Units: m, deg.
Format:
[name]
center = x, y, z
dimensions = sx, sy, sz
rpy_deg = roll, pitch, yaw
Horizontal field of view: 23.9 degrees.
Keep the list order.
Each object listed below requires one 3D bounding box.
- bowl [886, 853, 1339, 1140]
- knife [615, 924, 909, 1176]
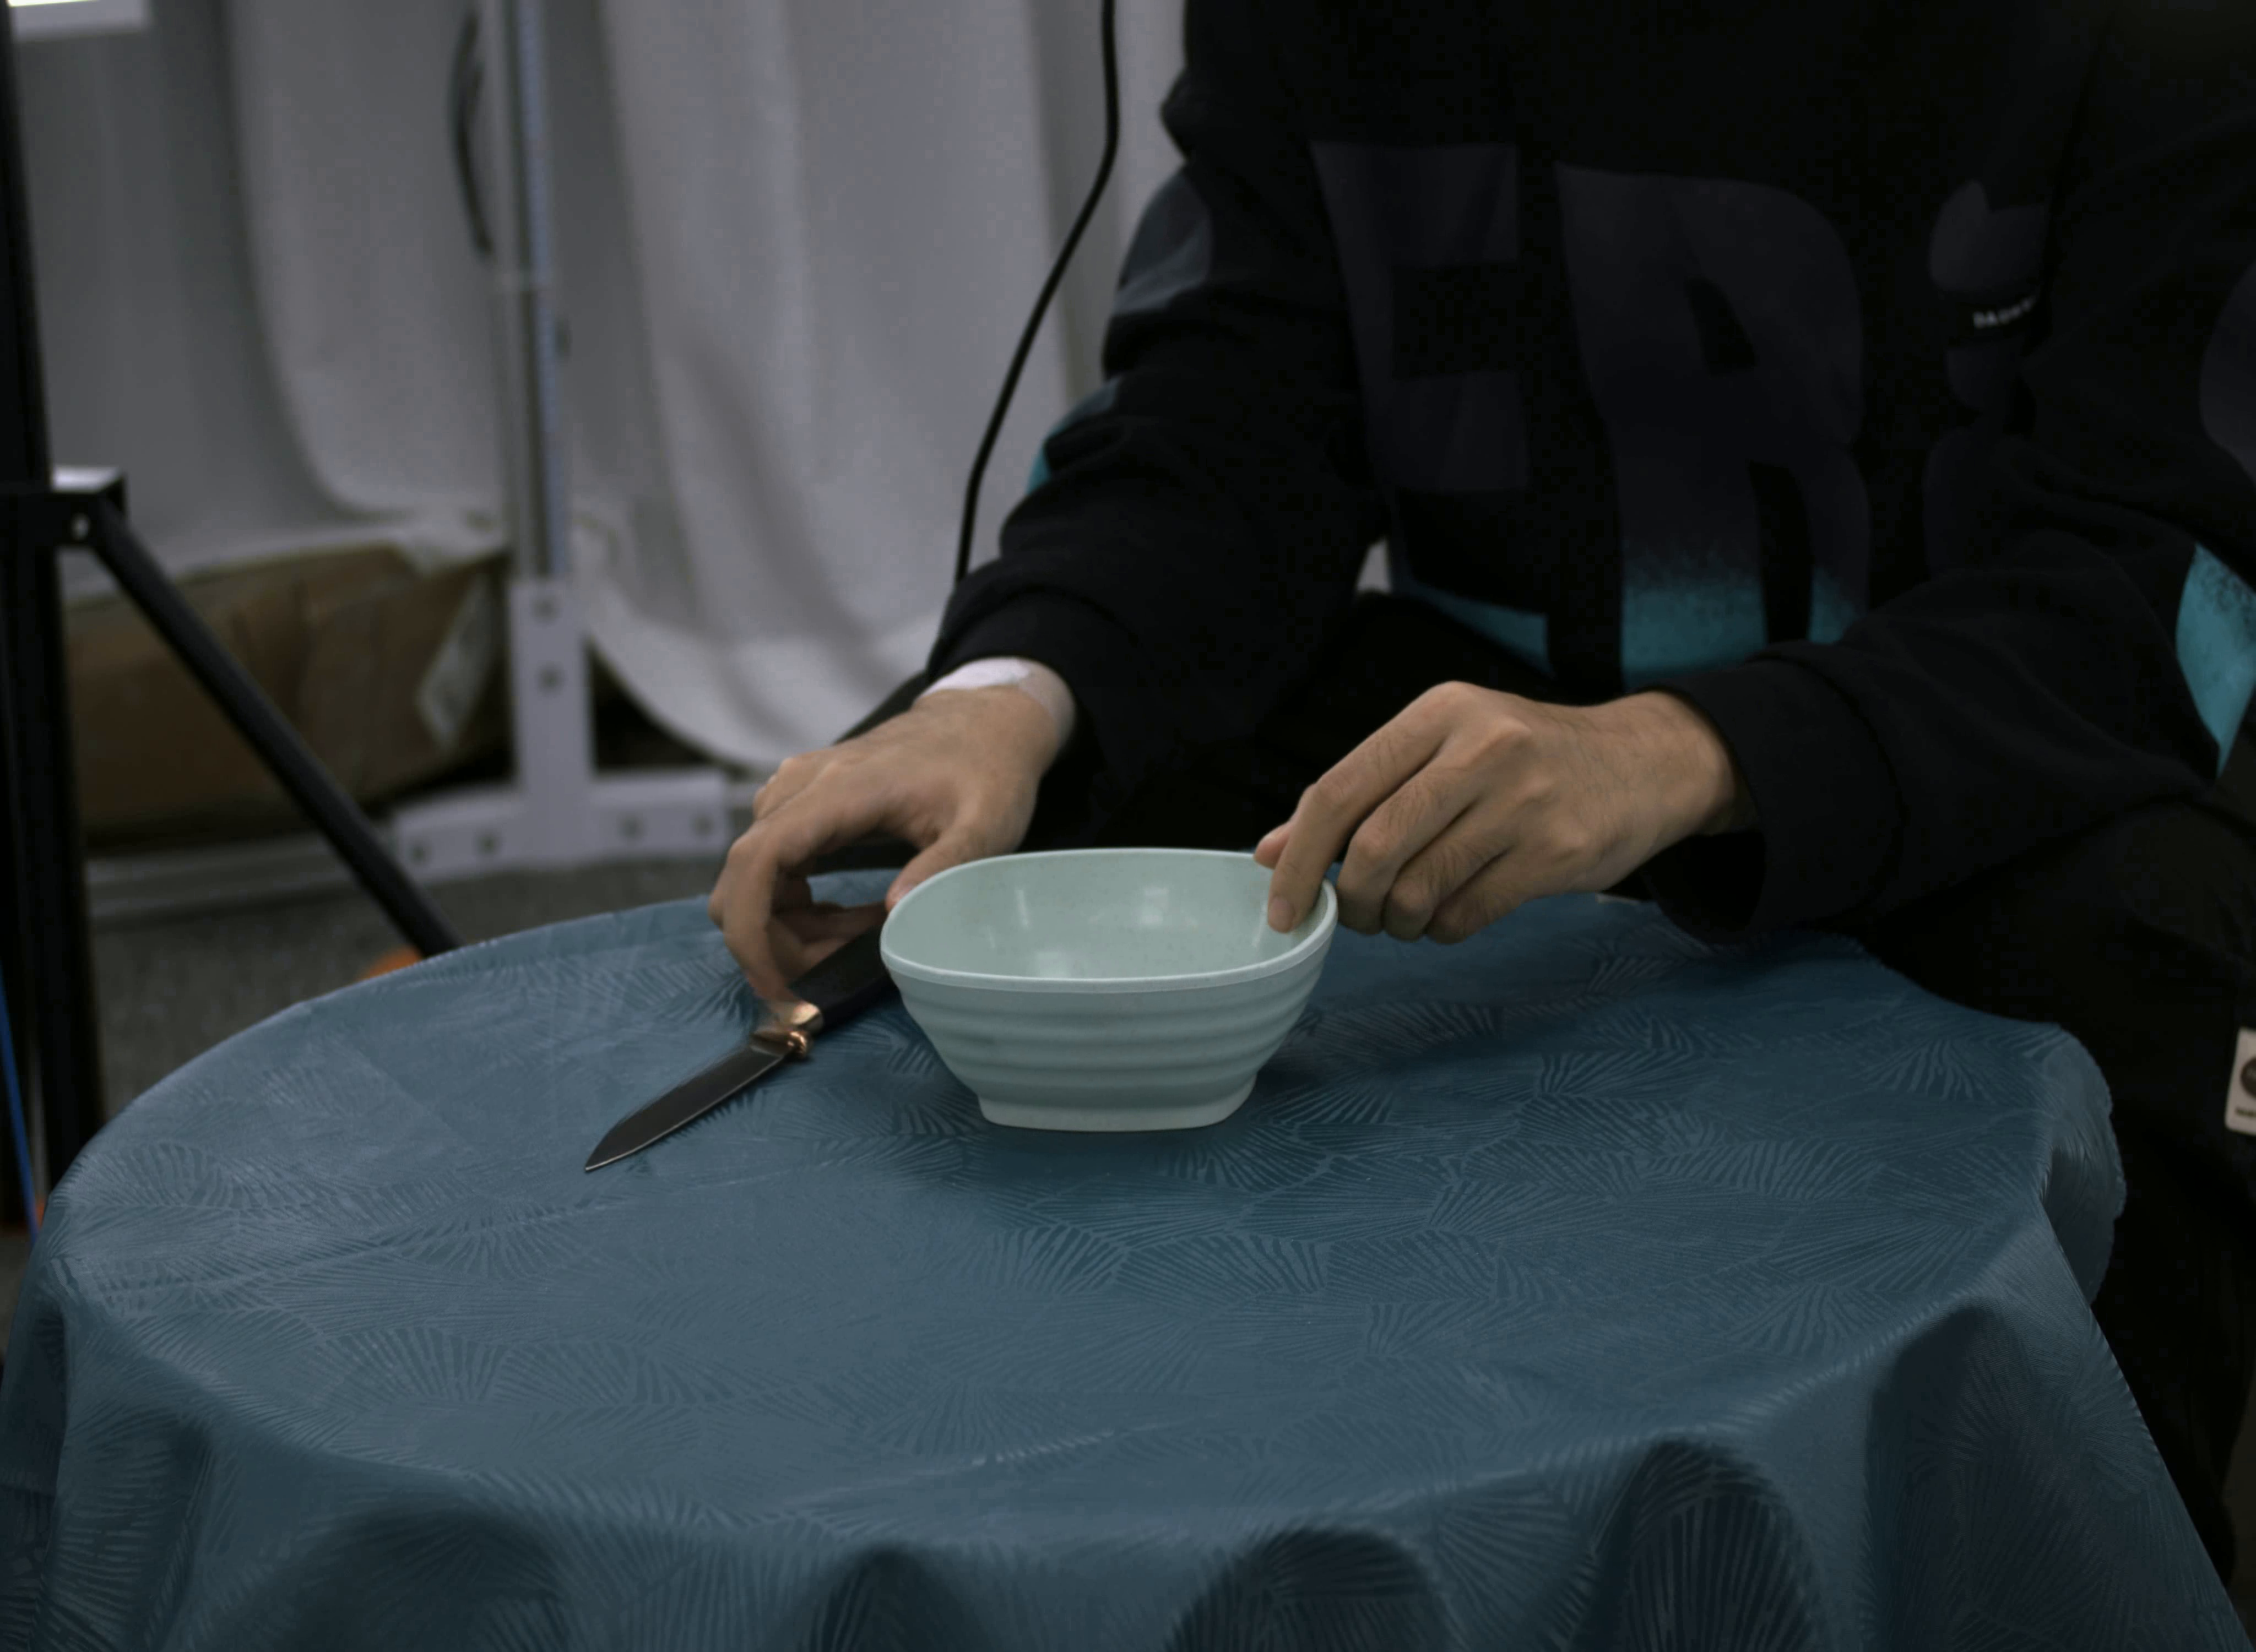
[bowl]
center = -0.003, 0.056, 1.642
dimensions = 0.151, 0.058, 0.152
rpy_deg = -4, 16, 0
[knife]
center = -0.114, 0.070, 1.690
dimensions = 0.026, 0.017, 0.222
rpy_deg = 11, 21, 21
